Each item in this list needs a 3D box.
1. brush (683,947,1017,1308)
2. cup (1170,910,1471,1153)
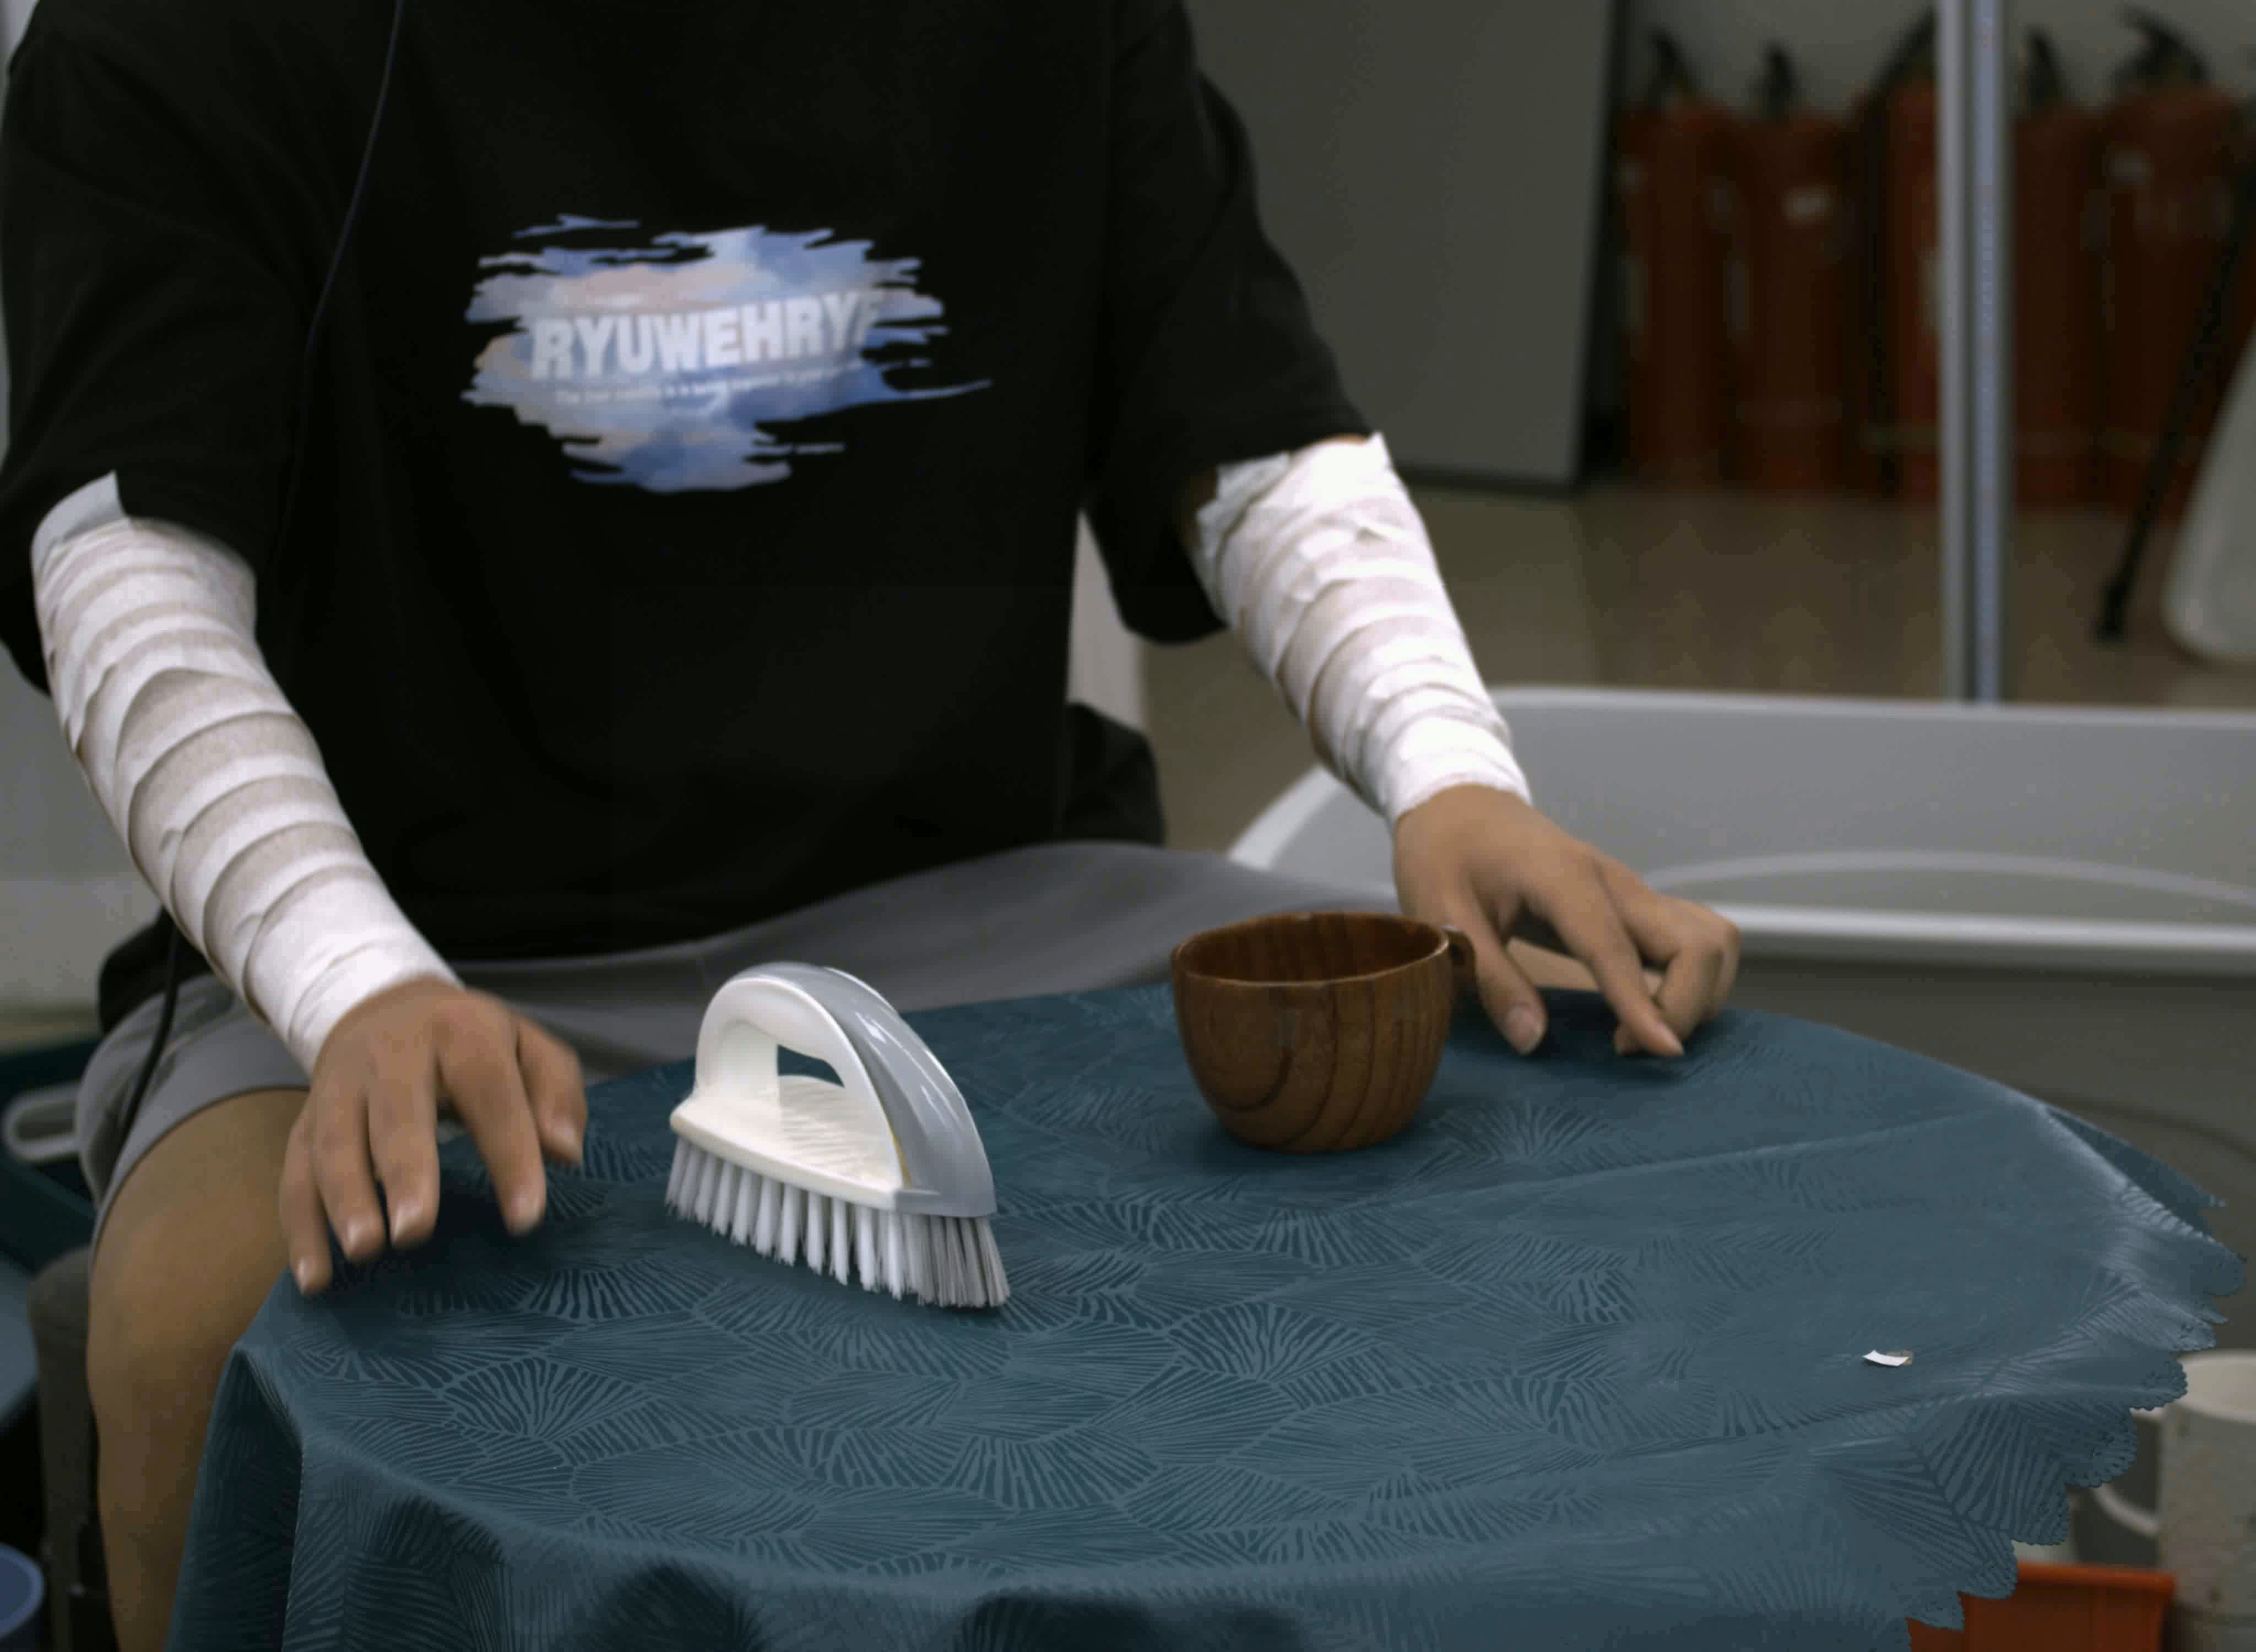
[{"bbox_3d":[-0.086,0.092,1.724,0.060,0.095,0.177,-15,20,-28],"label":"brush"},{"bbox_3d":[0.073,0.069,1.826,0.117,0.068,0.097,-13,14,-36],"label":"cup"}]
